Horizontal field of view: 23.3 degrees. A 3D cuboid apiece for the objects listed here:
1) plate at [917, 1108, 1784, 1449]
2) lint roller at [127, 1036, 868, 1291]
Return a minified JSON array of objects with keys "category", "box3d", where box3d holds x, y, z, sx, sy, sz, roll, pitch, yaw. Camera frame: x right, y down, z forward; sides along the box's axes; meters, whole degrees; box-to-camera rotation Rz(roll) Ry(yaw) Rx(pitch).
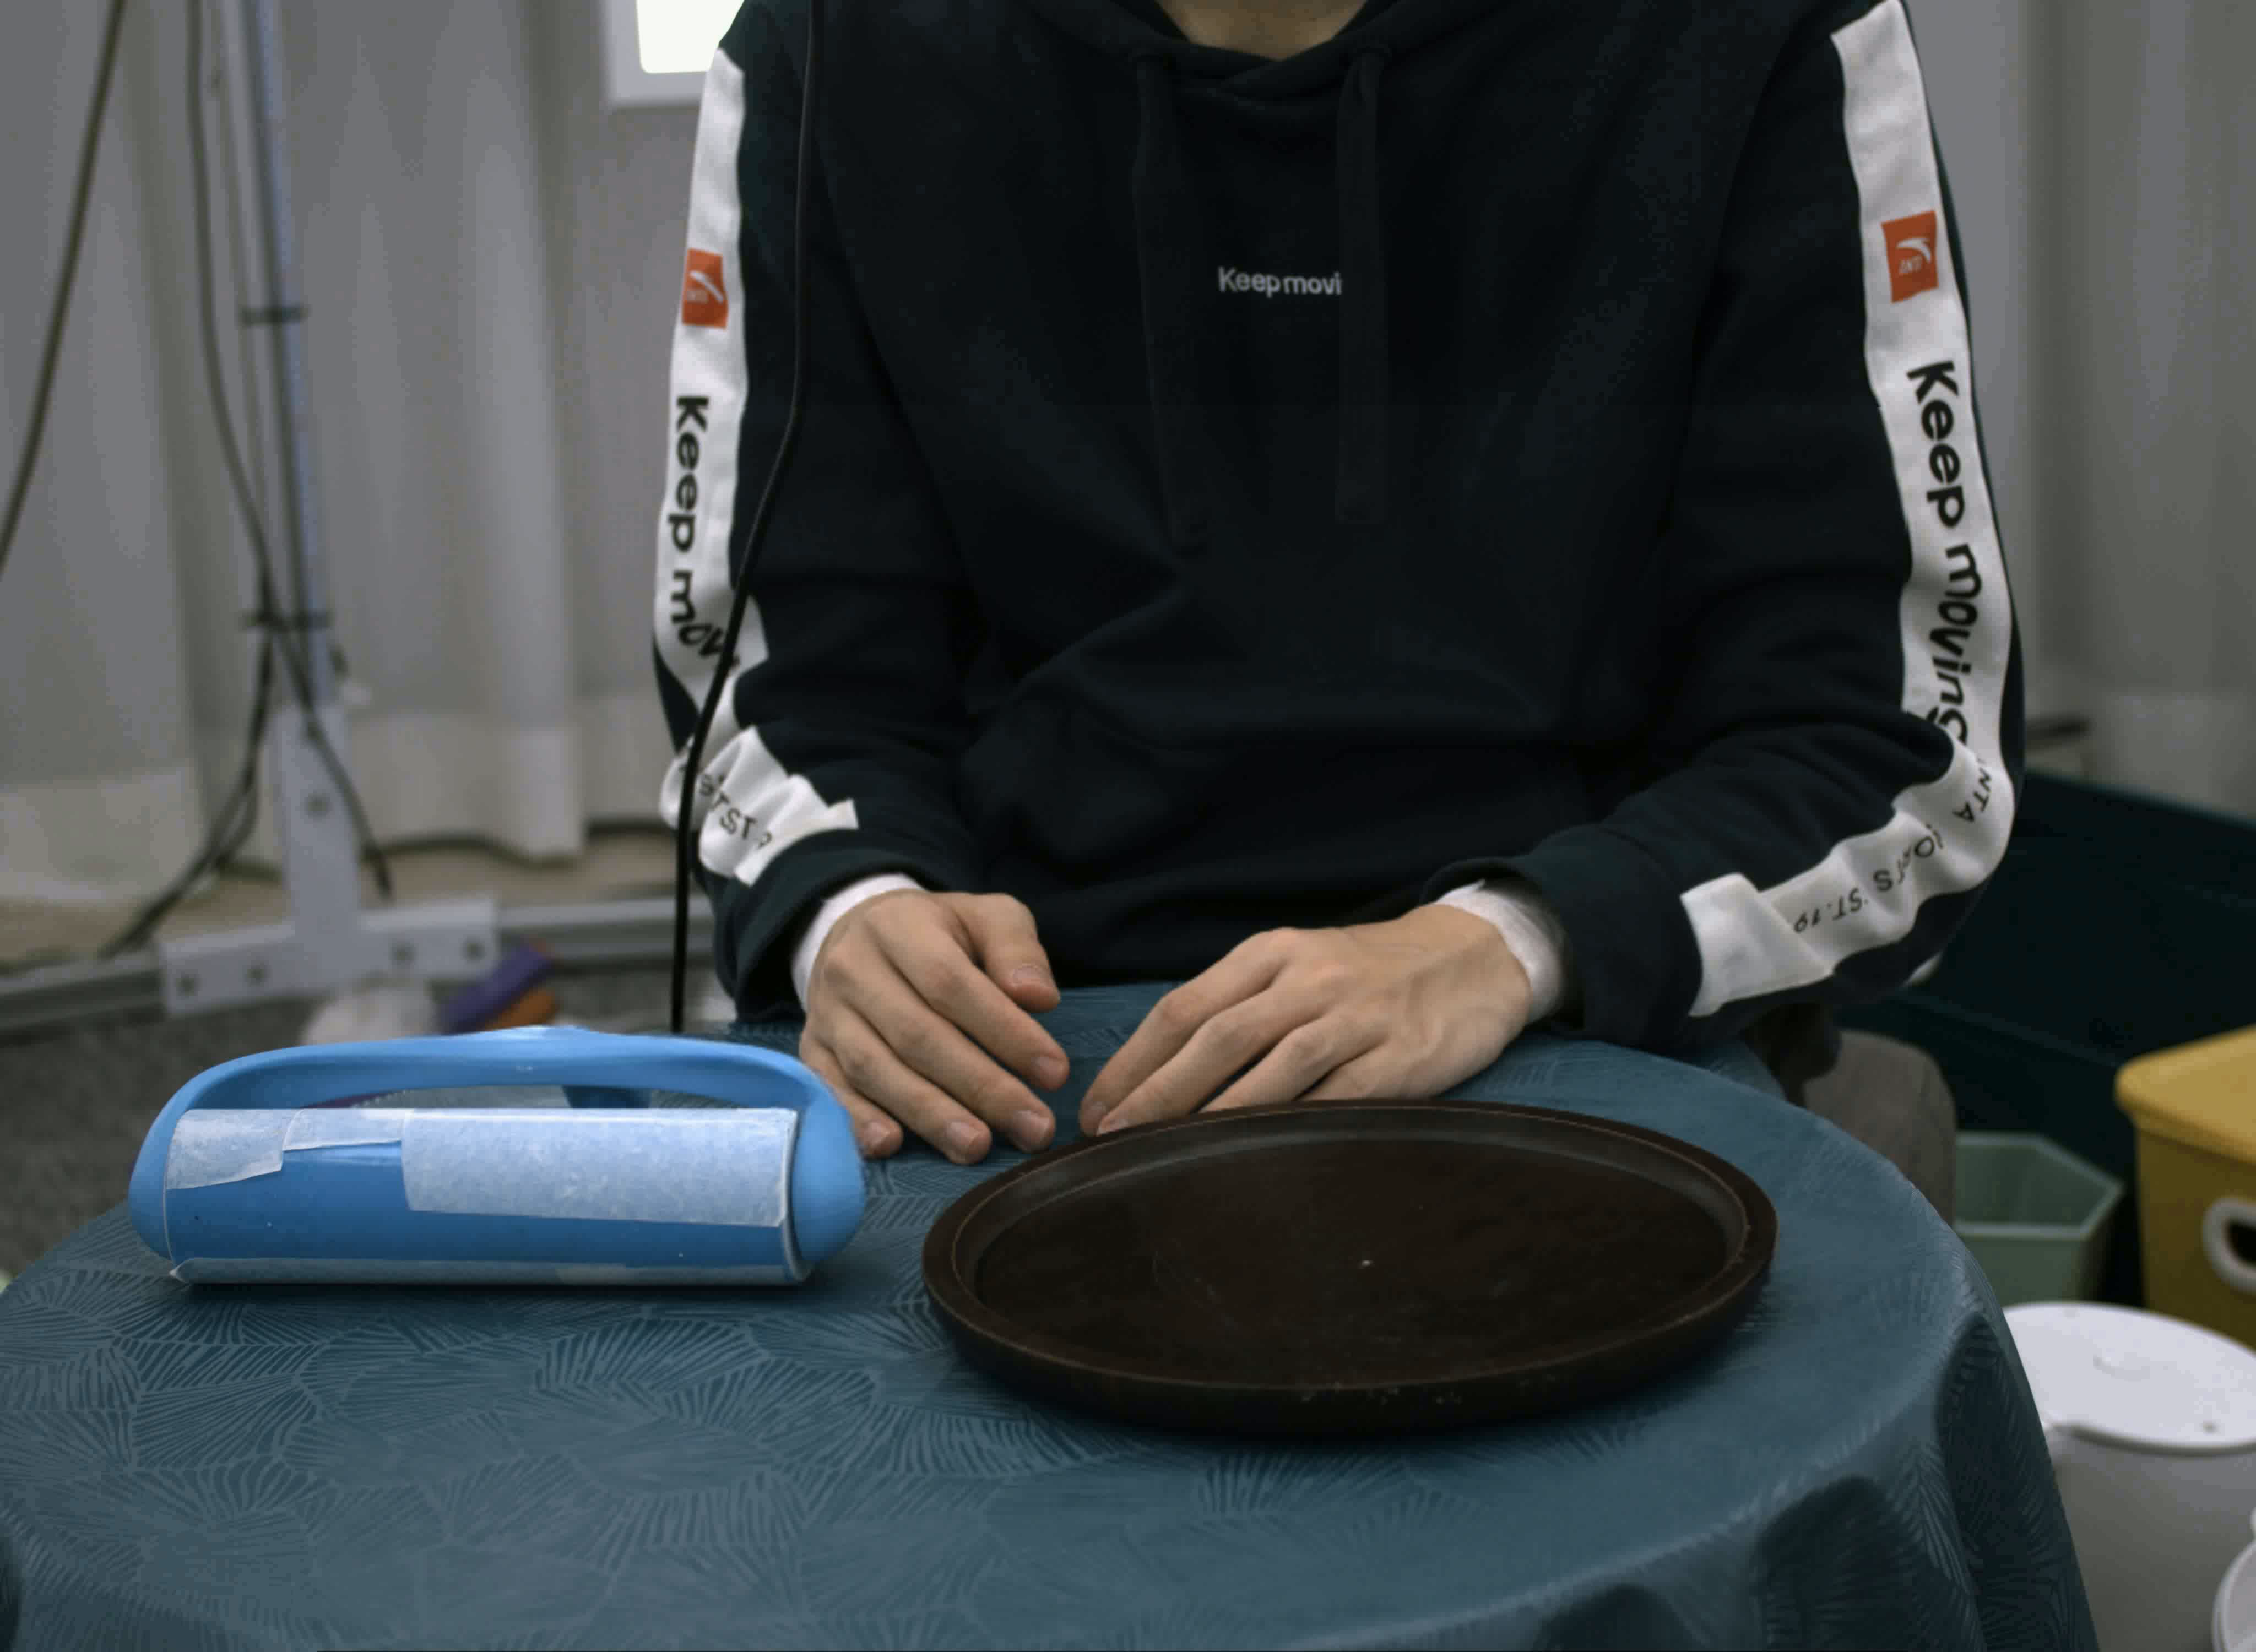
[{"category":"plate","box3d":[0.065,0.129,1.602,0.254,0.029,0.256,-3,16,0]},{"category":"lint roller","box3d":[-0.186,0.096,1.712,0.228,0.067,0.181,-3,15,7]}]
